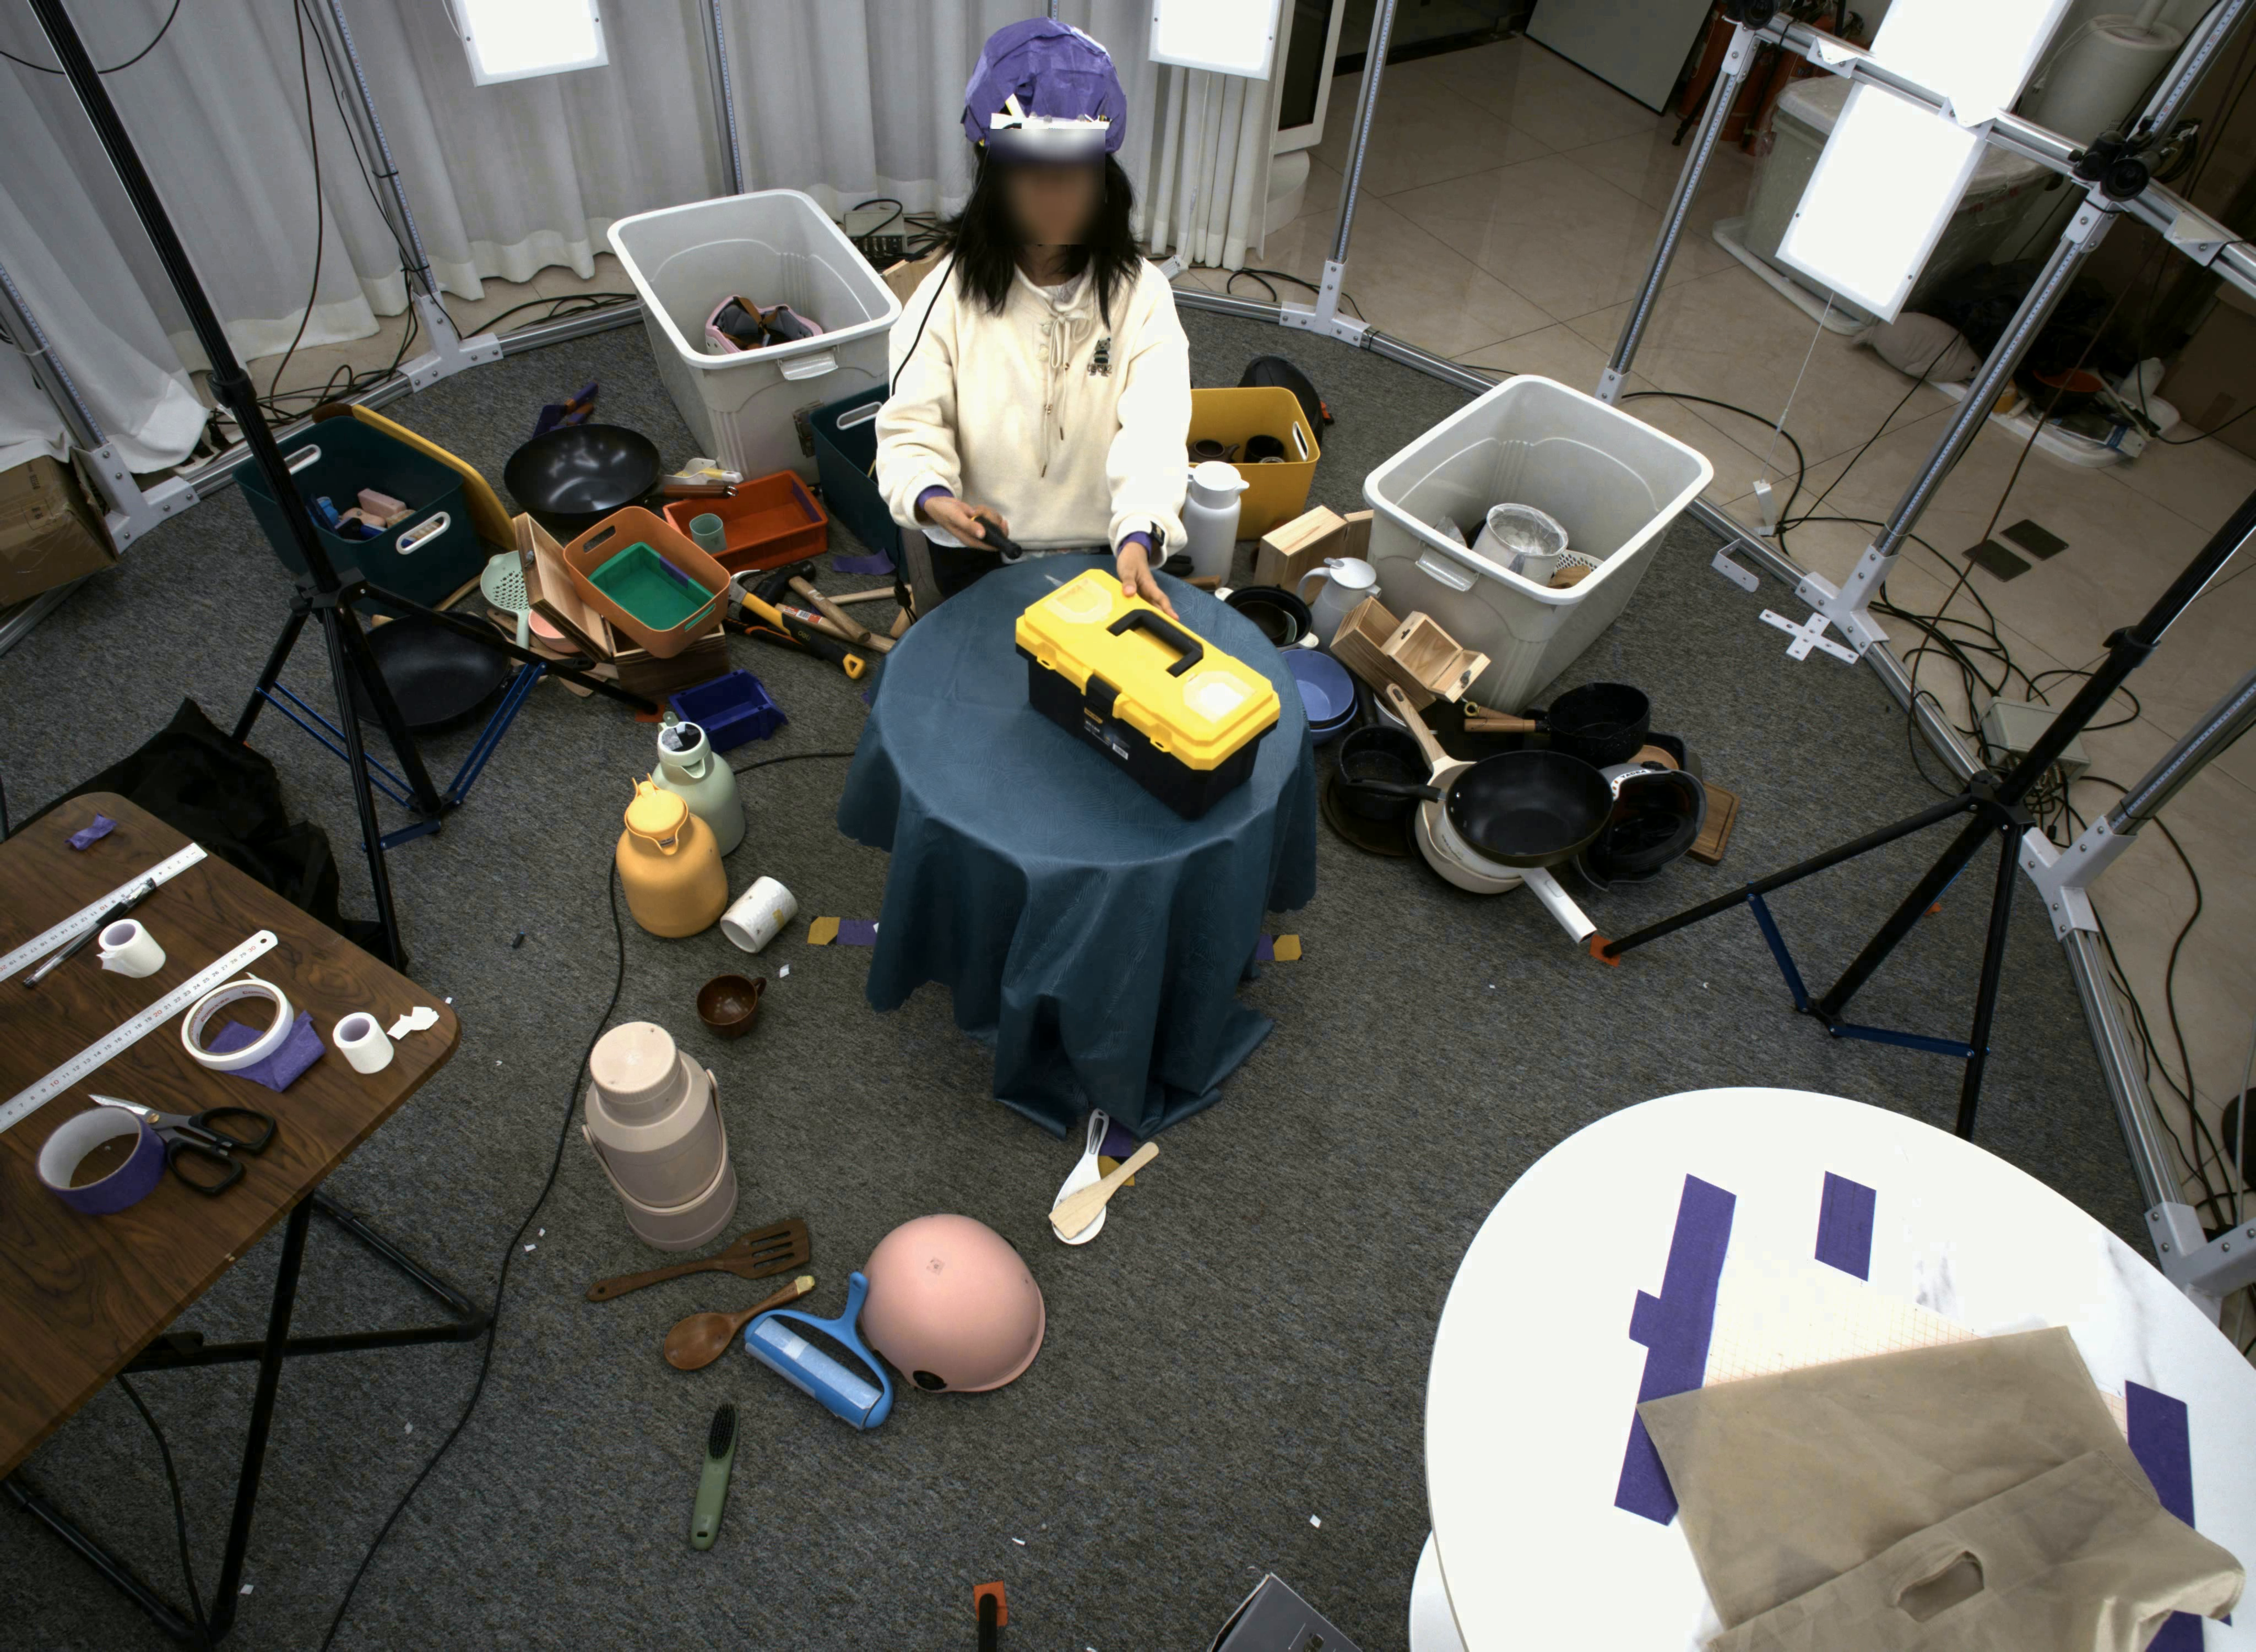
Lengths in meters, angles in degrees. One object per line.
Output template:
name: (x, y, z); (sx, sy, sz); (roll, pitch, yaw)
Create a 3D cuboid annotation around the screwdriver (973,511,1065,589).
screwdriver: (-0.149, -0.385, 1.786); (0.032, 0.031, 0.201); (-32, 54, -28)

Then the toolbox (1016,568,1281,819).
toolbox: (0.018, -0.177, 1.713); (0.356, 0.168, 0.183); (38, 56, 25)
